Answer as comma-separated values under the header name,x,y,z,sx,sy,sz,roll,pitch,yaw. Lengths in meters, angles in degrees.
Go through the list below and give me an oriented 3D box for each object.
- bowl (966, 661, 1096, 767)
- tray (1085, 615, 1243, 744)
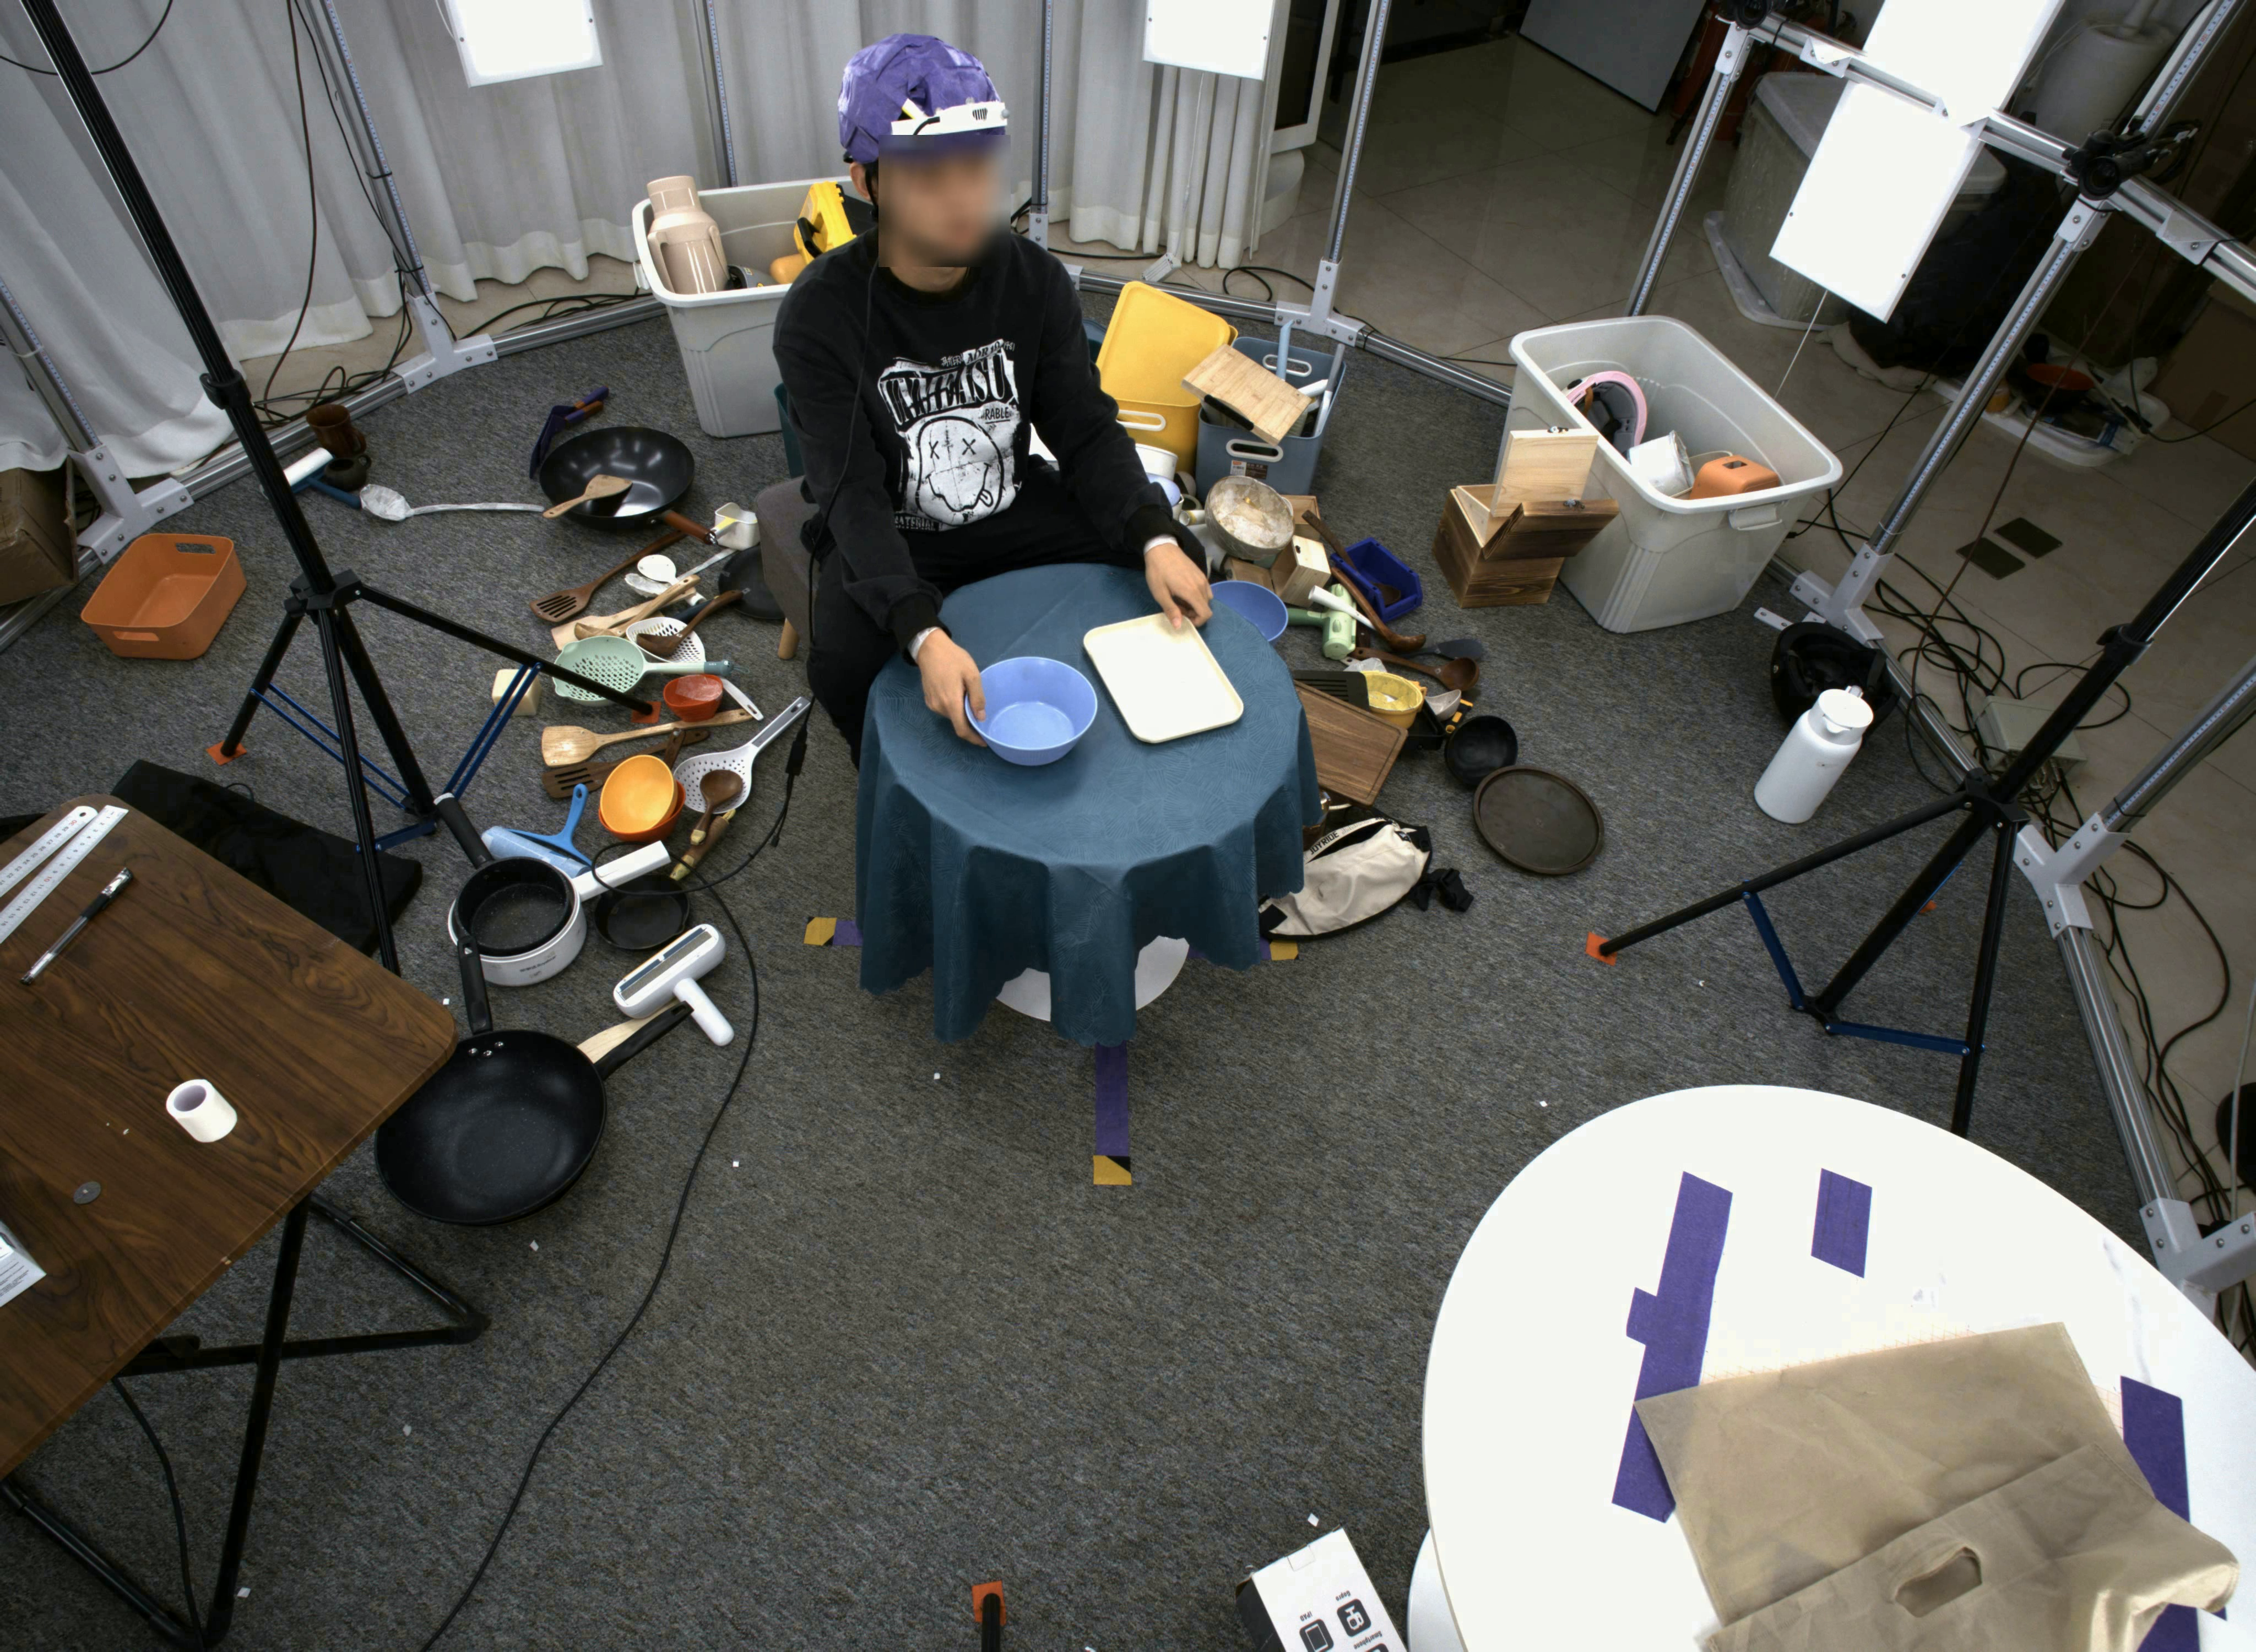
name,x,y,z,sx,sy,sz,roll,pitch,yaw
bowl,-0.132,-0.145,1.756,0.176,0.068,0.180,2,48,-3
tray,0.050,-0.215,1.864,0.171,0.017,0.245,-15,51,-17
